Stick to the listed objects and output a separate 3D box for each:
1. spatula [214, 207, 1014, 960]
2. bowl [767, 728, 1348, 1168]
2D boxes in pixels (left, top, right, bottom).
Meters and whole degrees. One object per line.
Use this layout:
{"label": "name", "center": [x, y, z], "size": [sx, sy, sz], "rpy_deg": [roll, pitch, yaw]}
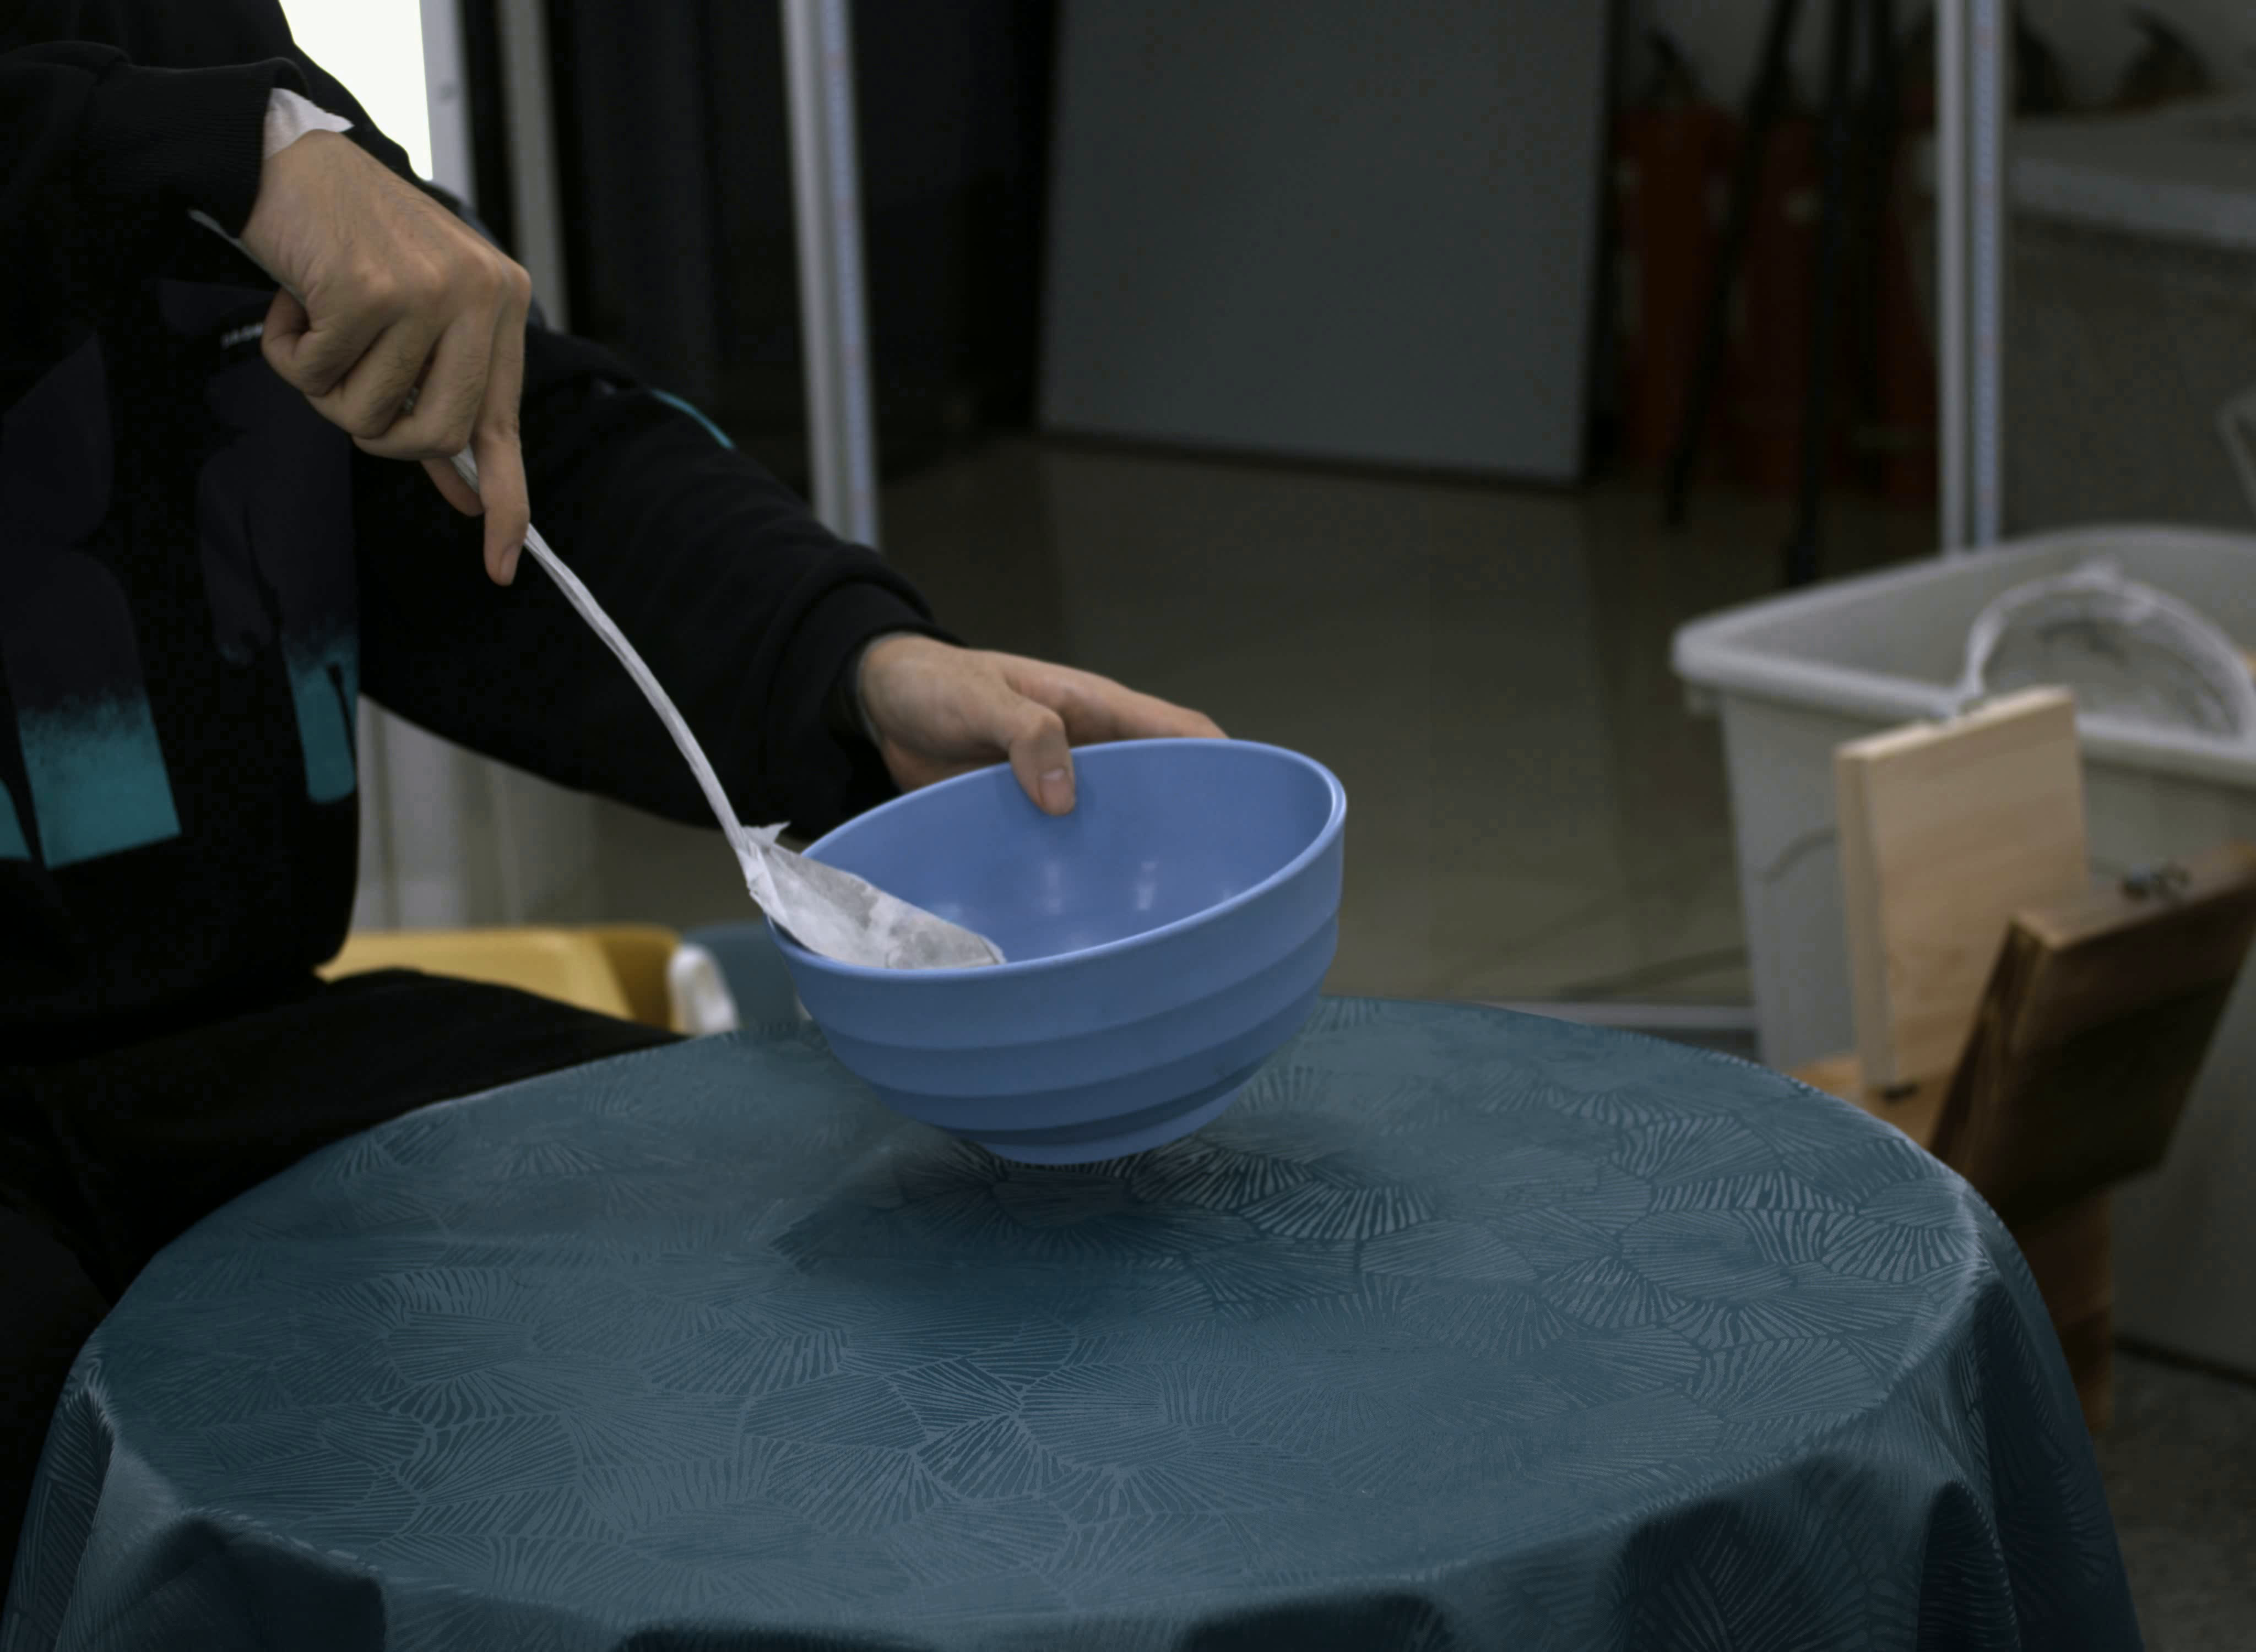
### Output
{"label": "spatula", "center": [-0.164, -0.067, 1.748], "size": [0.045, 0.365, 0.098], "rpy_deg": [-37, 9, 14]}
{"label": "bowl", "center": [-0.015, 0.050, 1.777], "size": [0.194, 0.096, 0.197], "rpy_deg": [-12, 20, 3]}
